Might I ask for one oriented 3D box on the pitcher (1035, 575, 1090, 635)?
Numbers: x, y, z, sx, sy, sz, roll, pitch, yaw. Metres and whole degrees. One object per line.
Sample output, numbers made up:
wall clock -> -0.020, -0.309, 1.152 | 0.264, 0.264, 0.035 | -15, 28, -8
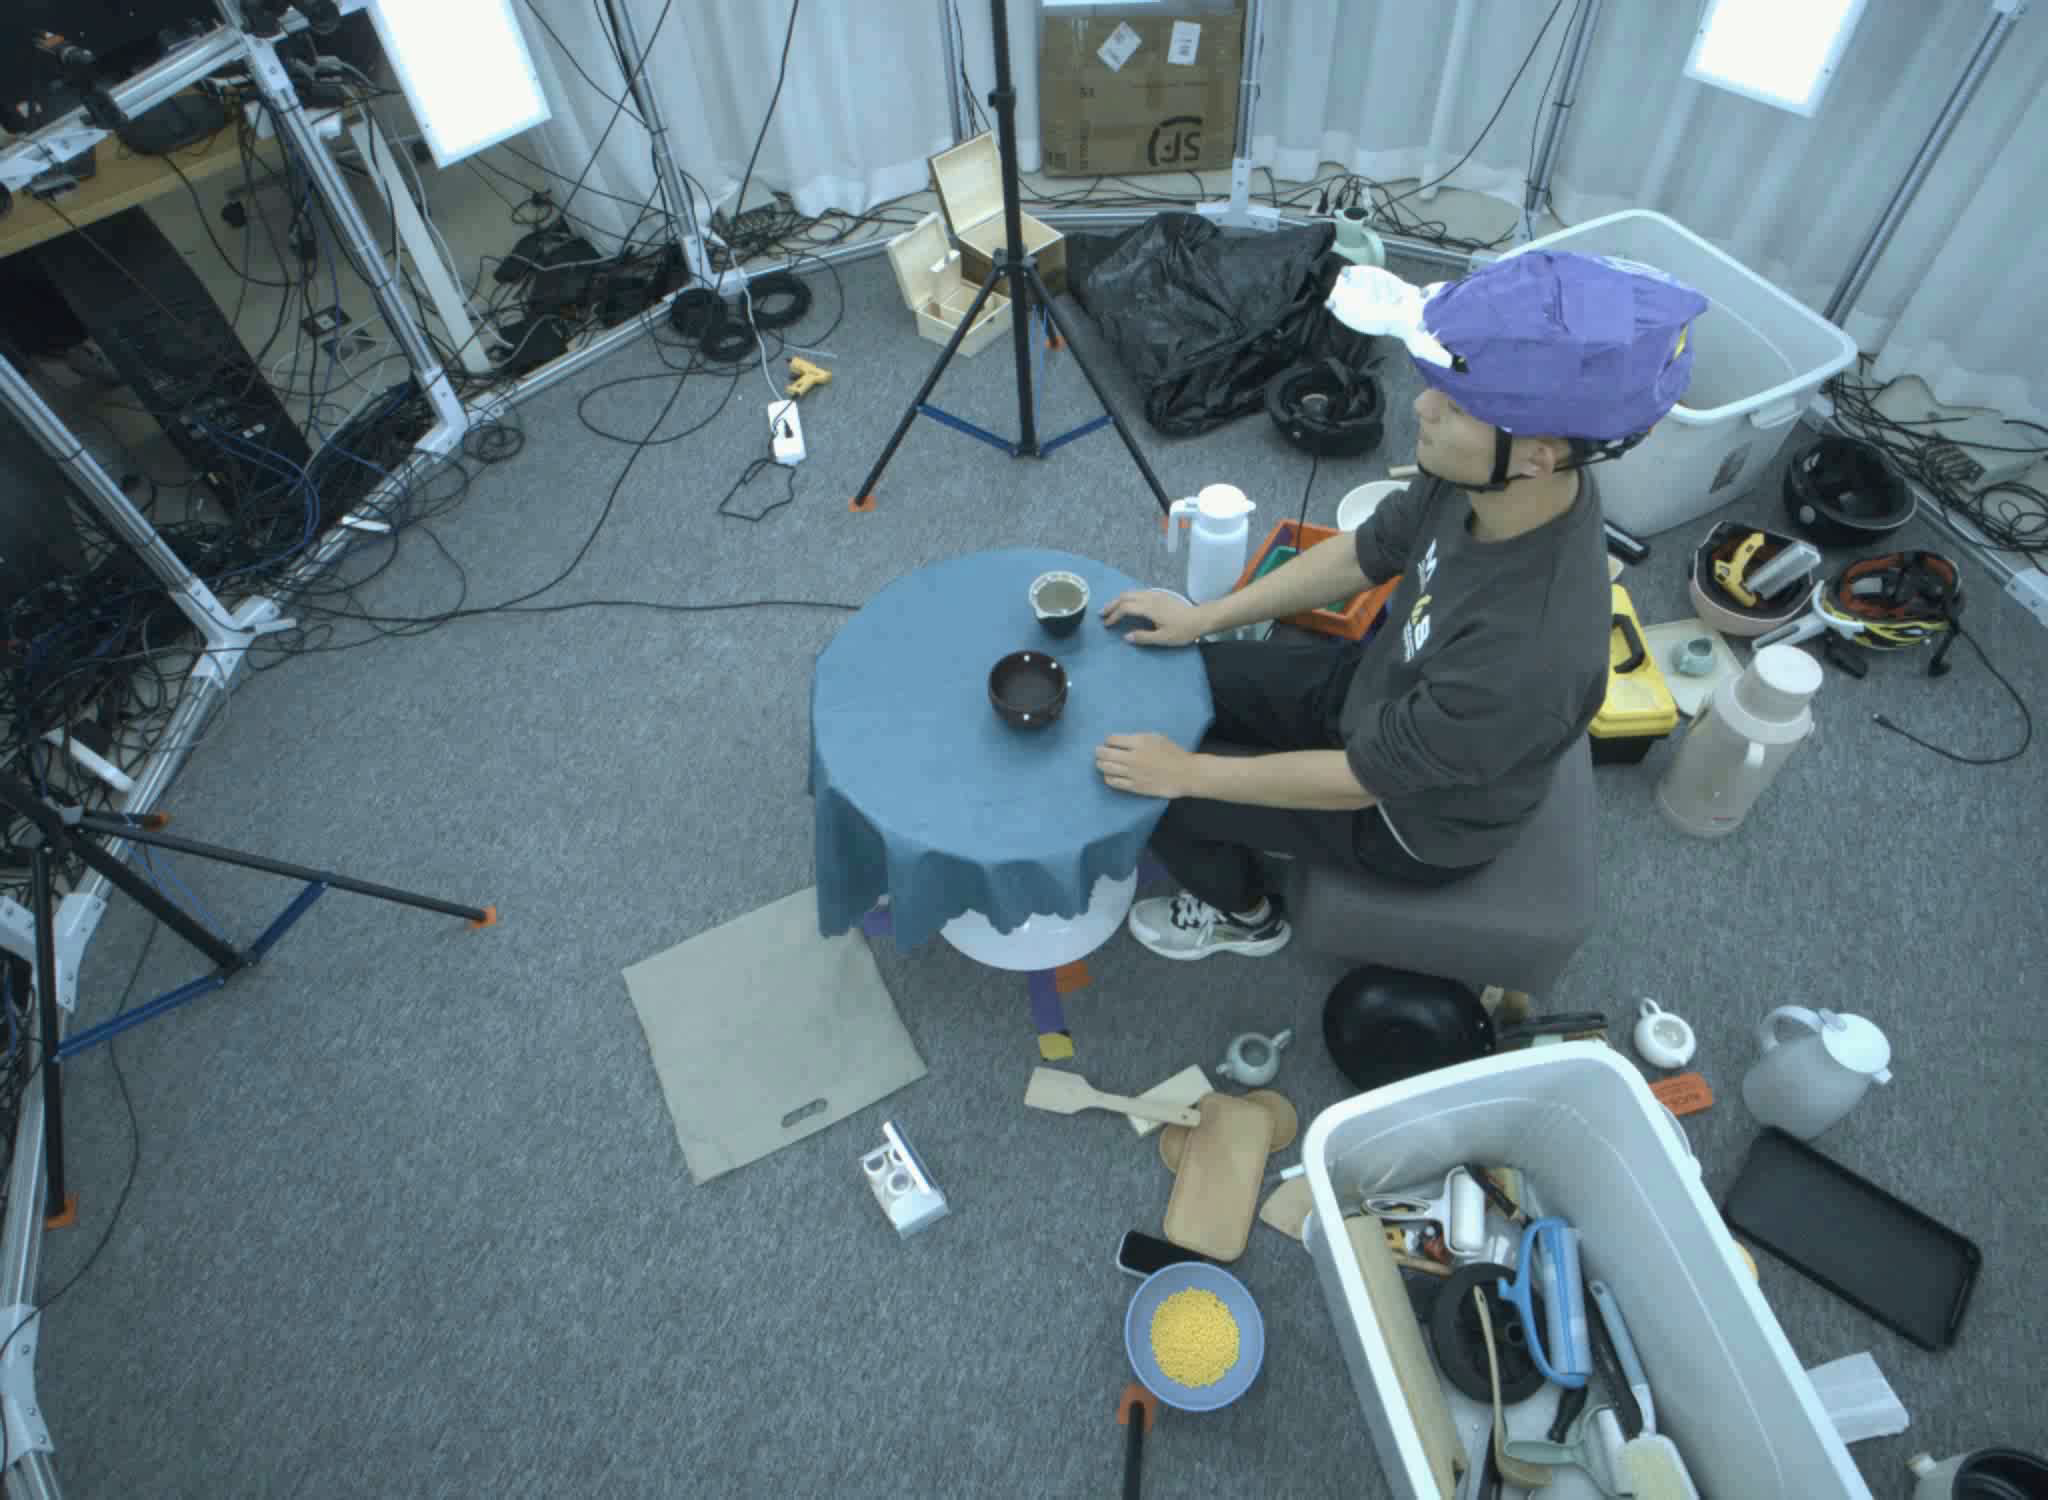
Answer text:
pitcher -> 0.055, -0.216, 1.891 | 0.082, 0.072, 0.096 | 35, 62, 22

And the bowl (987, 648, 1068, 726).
bowl -> 0.007, -0.083, 1.800 | 0.118, 0.071, 0.117 | -2, 53, 3
